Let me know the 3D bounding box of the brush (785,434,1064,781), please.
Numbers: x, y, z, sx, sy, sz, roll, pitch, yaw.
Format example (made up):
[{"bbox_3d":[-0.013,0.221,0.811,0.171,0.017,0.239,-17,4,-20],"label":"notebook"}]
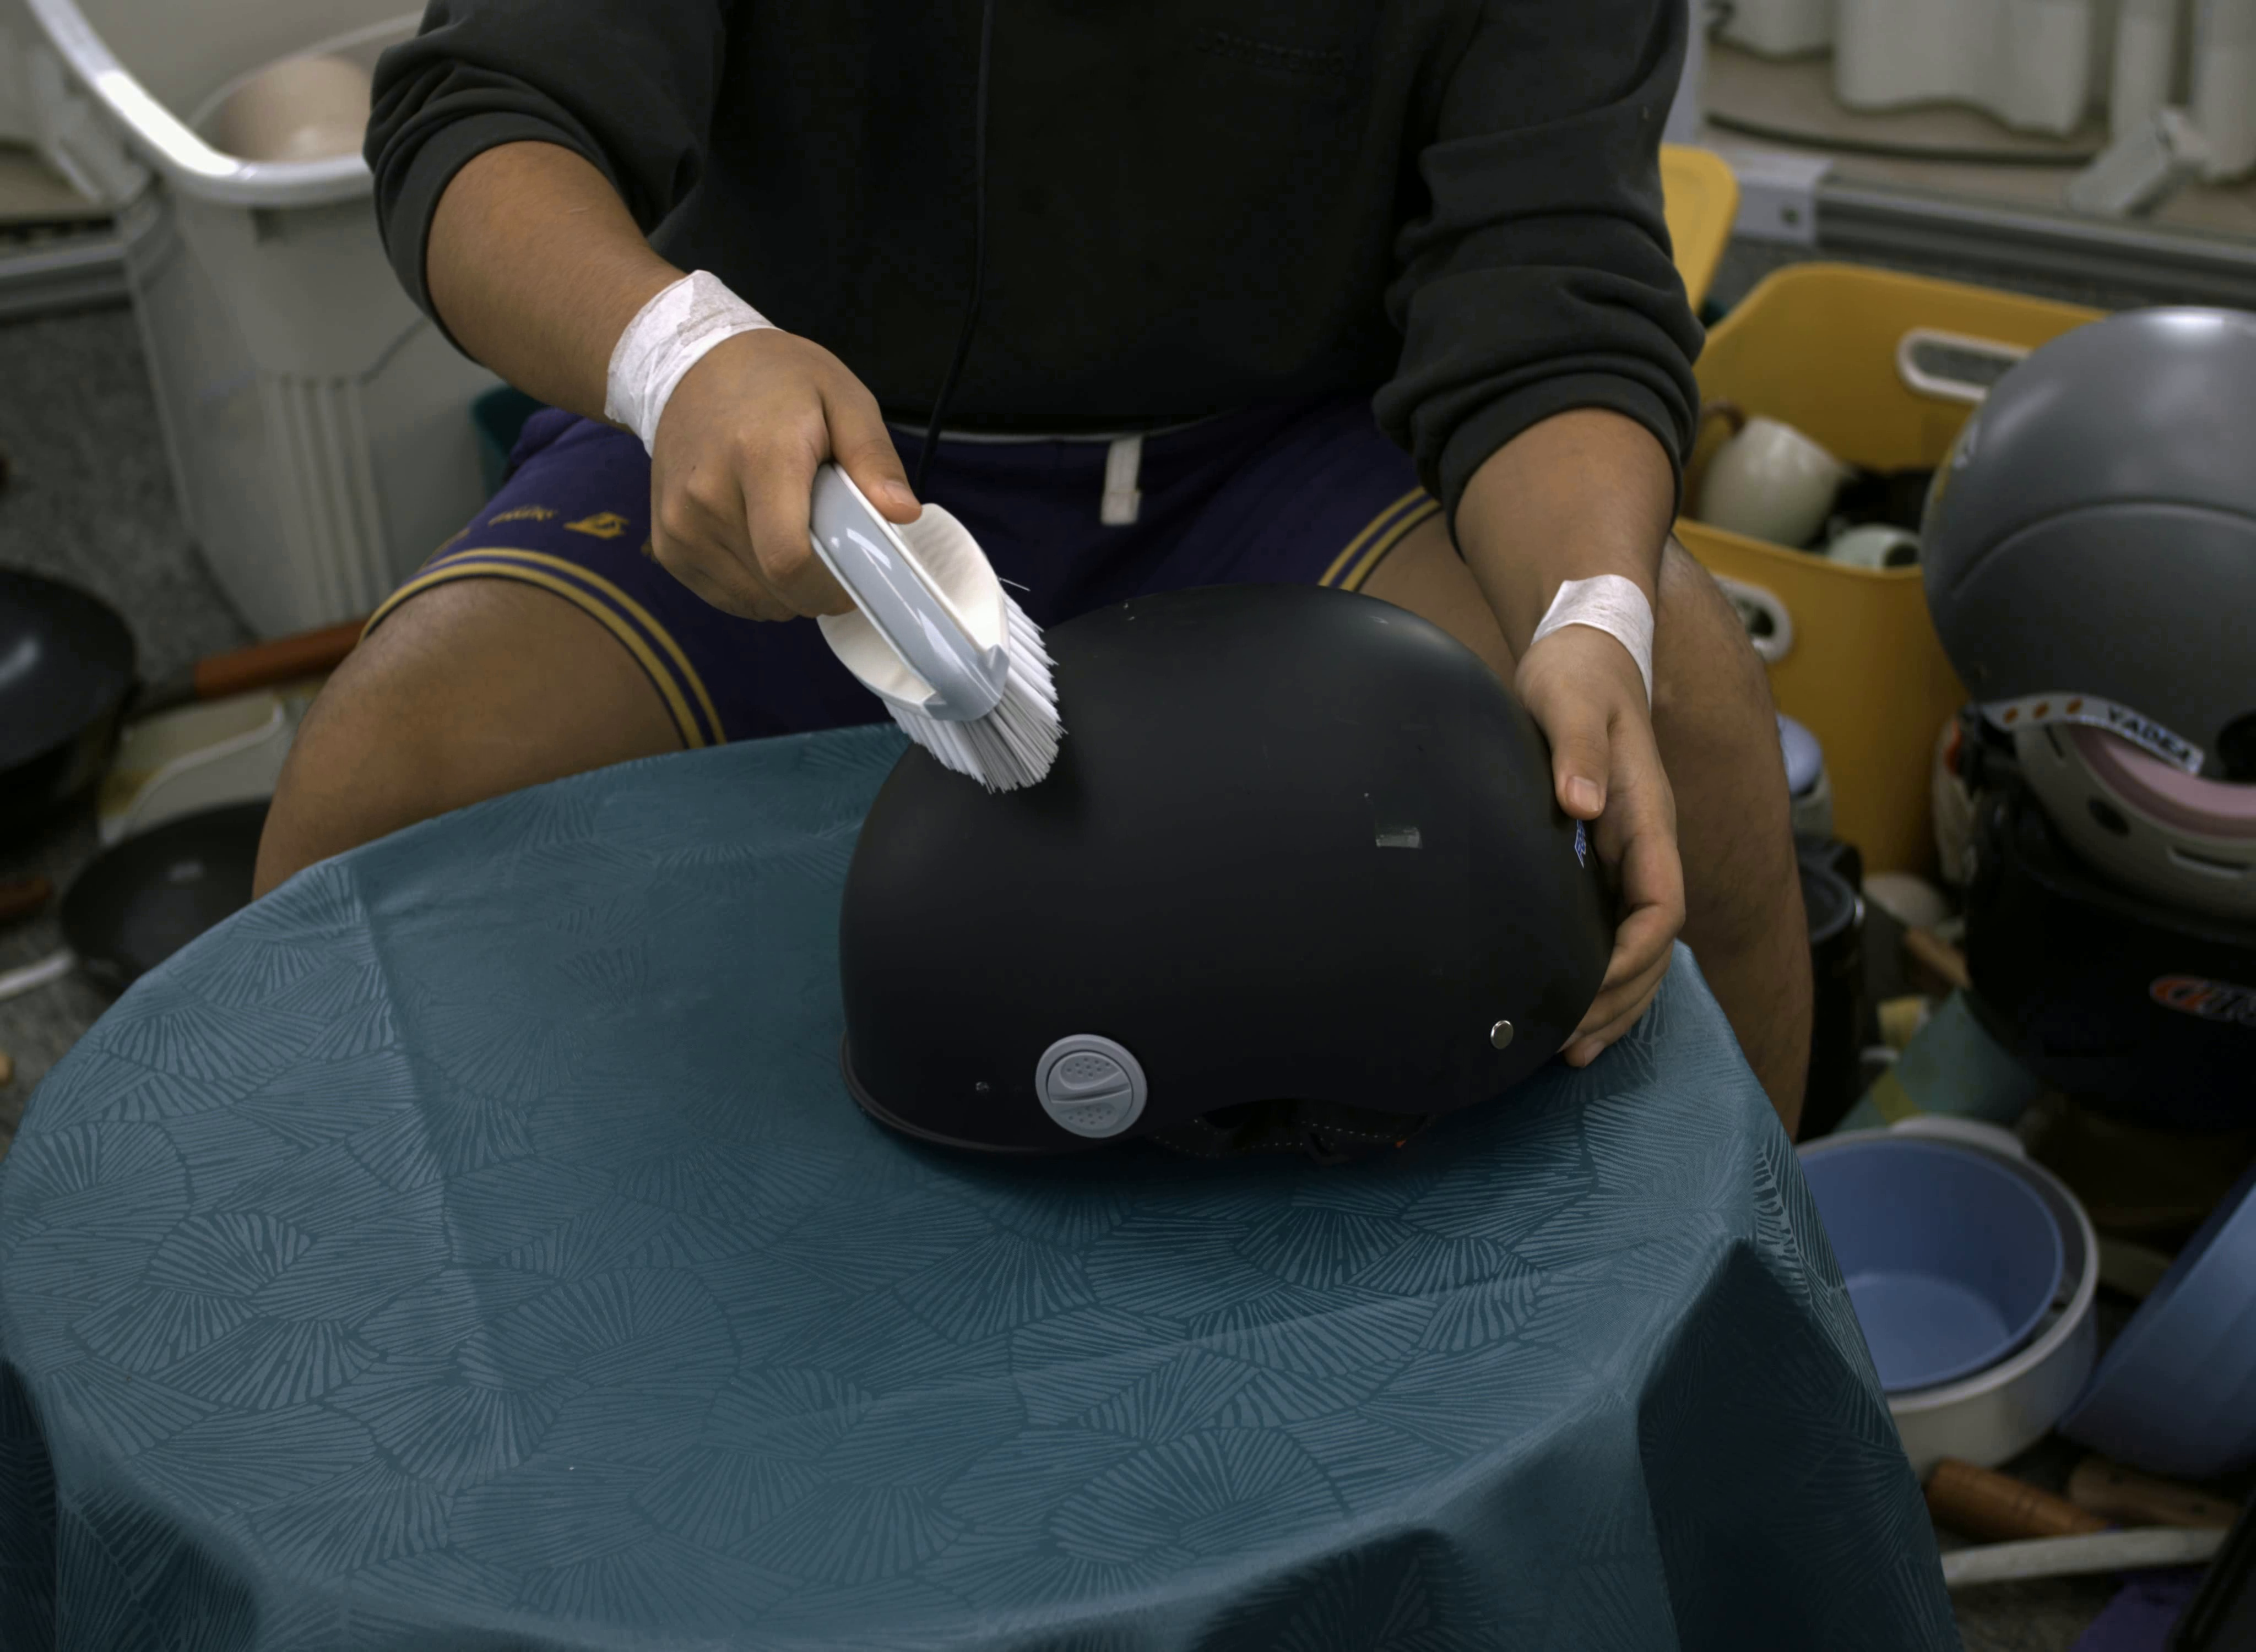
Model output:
[{"bbox_3d":[-0.071,-0.078,1.875,0.061,0.093,0.177,-38,28,3],"label":"brush"}]

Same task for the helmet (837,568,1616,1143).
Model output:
[{"bbox_3d":[0.027,0.000,1.918,0.271,0.165,0.233,-4,24,5],"label":"helmet"}]
